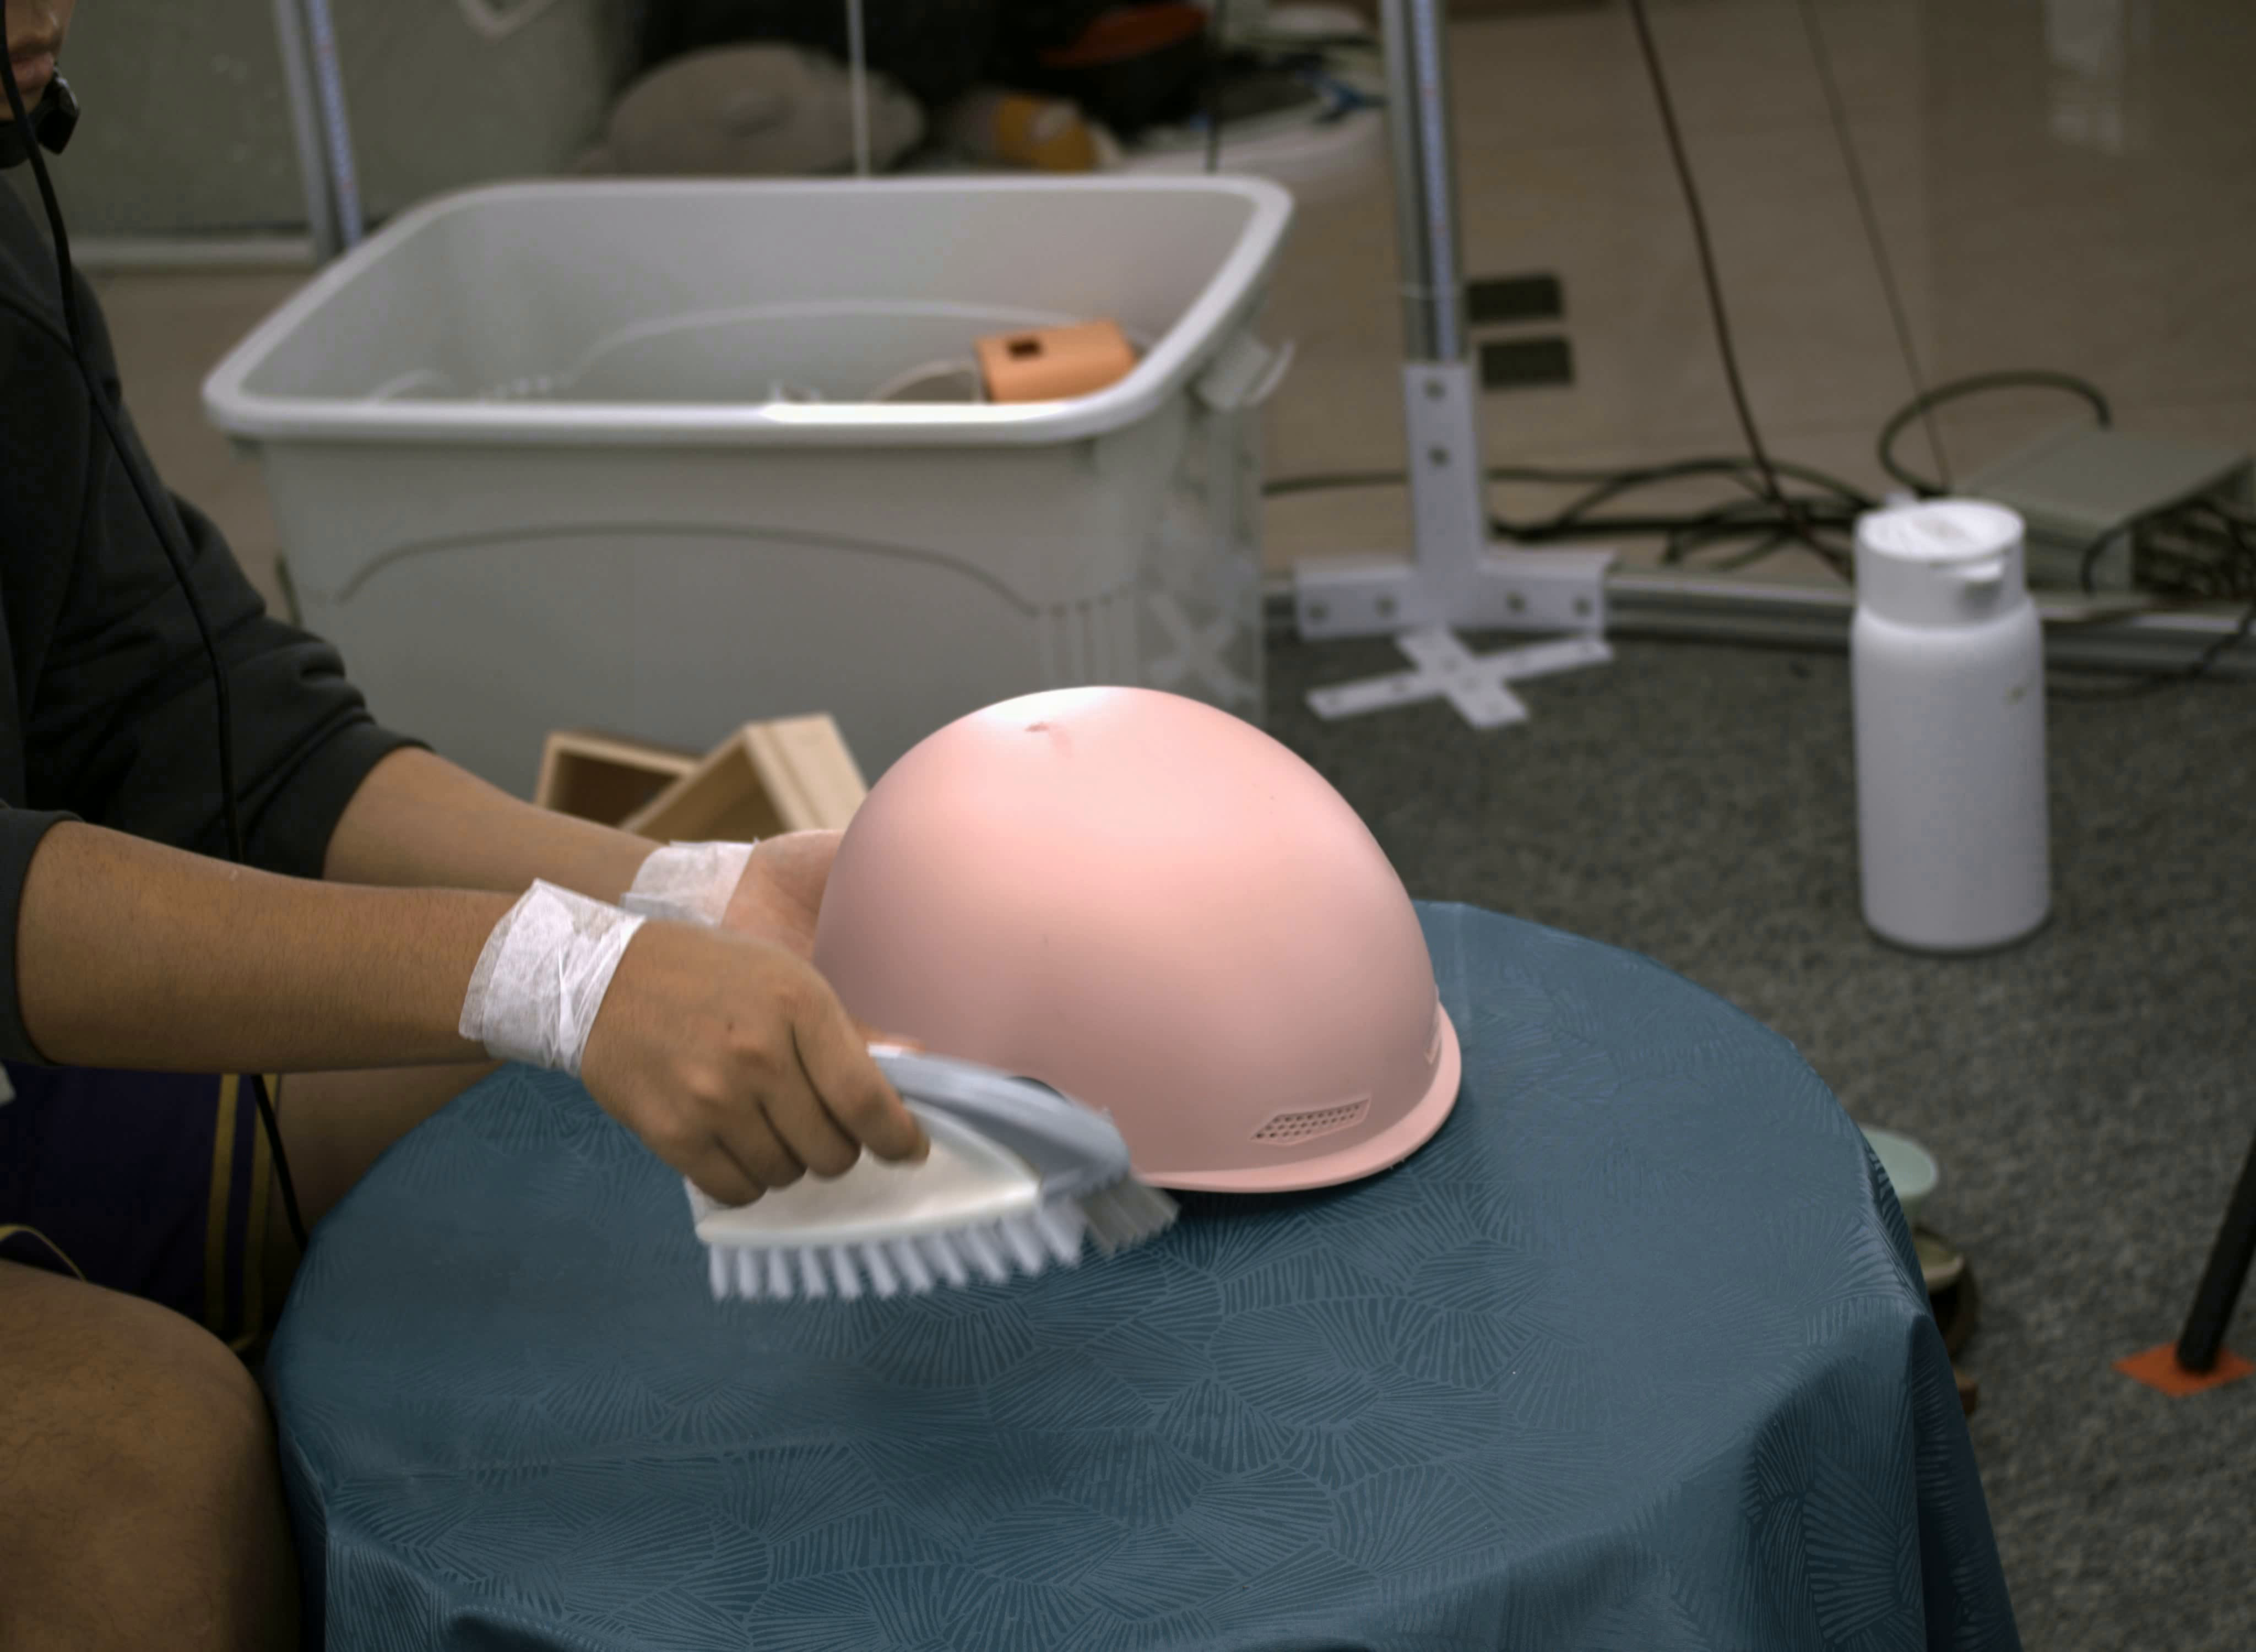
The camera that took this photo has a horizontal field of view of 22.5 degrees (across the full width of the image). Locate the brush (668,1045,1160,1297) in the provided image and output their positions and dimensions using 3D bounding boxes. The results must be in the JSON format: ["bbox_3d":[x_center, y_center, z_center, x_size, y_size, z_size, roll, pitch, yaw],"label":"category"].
[{"bbox_3d":[-0.080,0.114,1.981,0.175,0.096,0.060,1,44,24],"label":"brush"}]

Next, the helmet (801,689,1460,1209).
[{"bbox_3d":[0.000,0.036,2.185,0.264,0.161,0.231,16,33,29],"label":"helmet"}]
